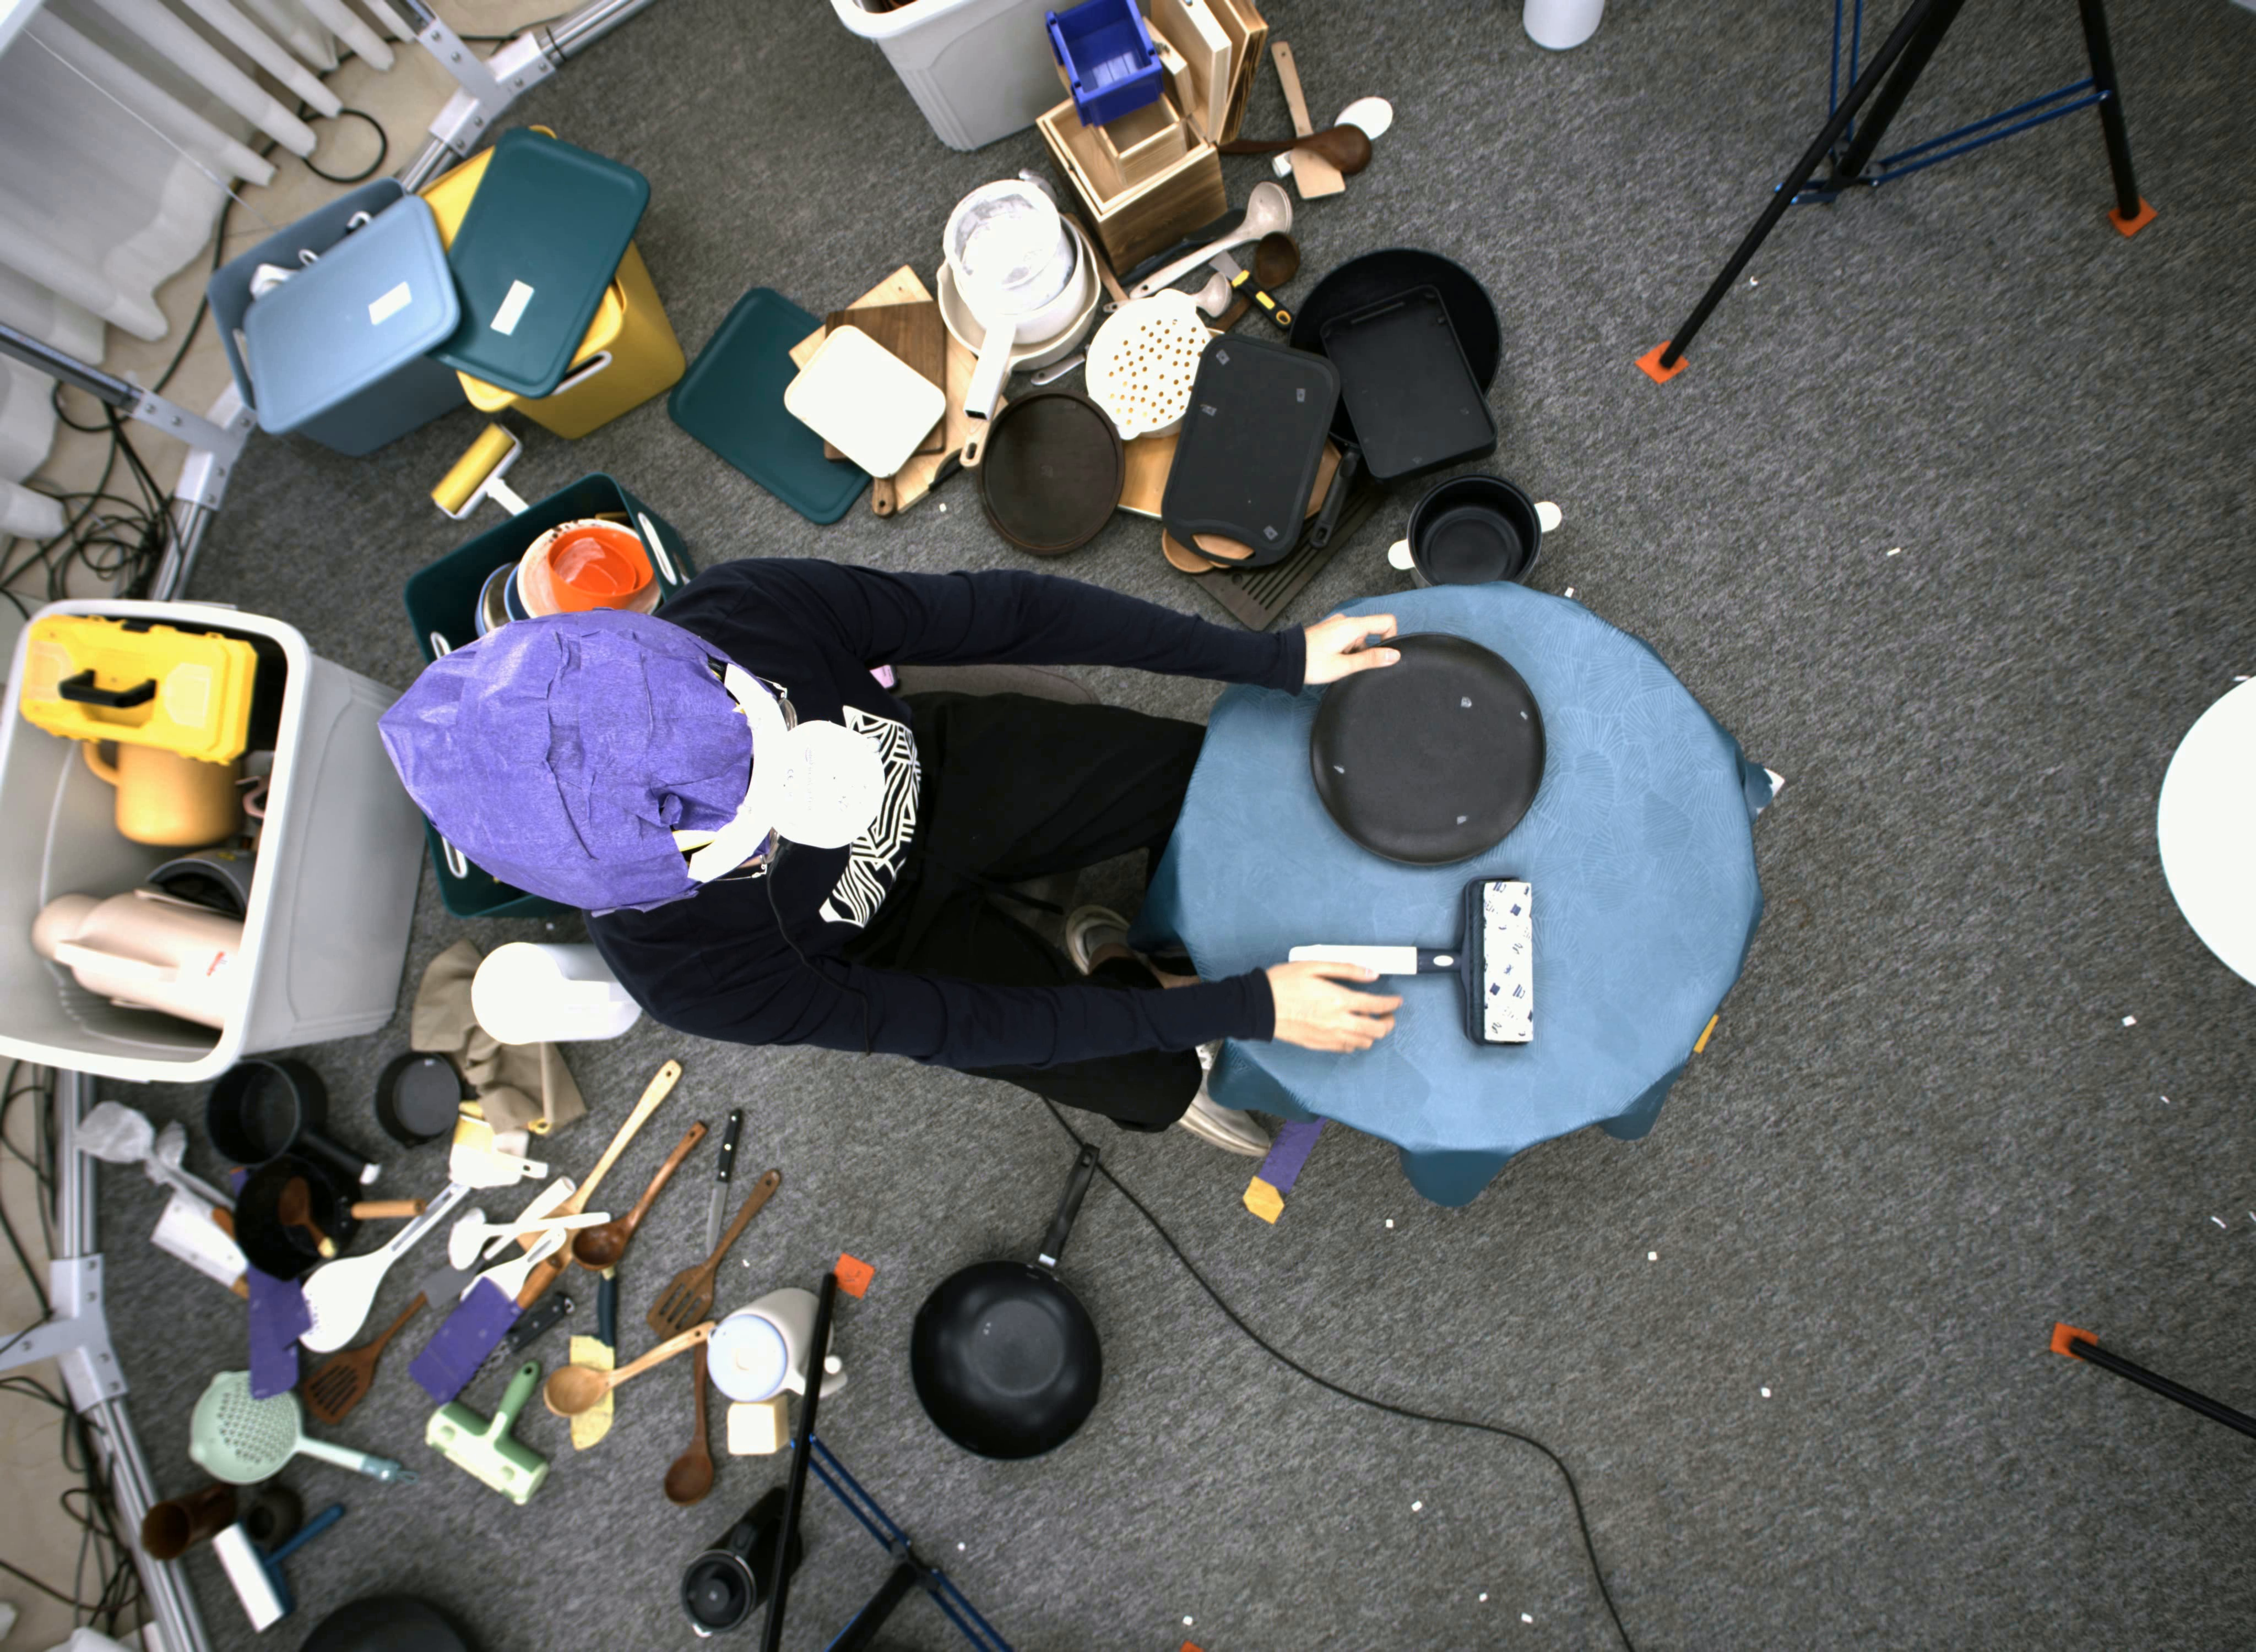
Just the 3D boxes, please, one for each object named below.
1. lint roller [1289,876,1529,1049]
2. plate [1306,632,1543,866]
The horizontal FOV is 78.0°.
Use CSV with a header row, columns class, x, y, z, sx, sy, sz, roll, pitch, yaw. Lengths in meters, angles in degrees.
class,x,y,z,sx,sy,sz,roll,pitch,yaw
lint roller,0.289,0.139,1.432,0.248,0.050,0.175,-1,87,14
plate,0.308,-0.082,1.433,0.245,0.023,0.246,1,98,8
